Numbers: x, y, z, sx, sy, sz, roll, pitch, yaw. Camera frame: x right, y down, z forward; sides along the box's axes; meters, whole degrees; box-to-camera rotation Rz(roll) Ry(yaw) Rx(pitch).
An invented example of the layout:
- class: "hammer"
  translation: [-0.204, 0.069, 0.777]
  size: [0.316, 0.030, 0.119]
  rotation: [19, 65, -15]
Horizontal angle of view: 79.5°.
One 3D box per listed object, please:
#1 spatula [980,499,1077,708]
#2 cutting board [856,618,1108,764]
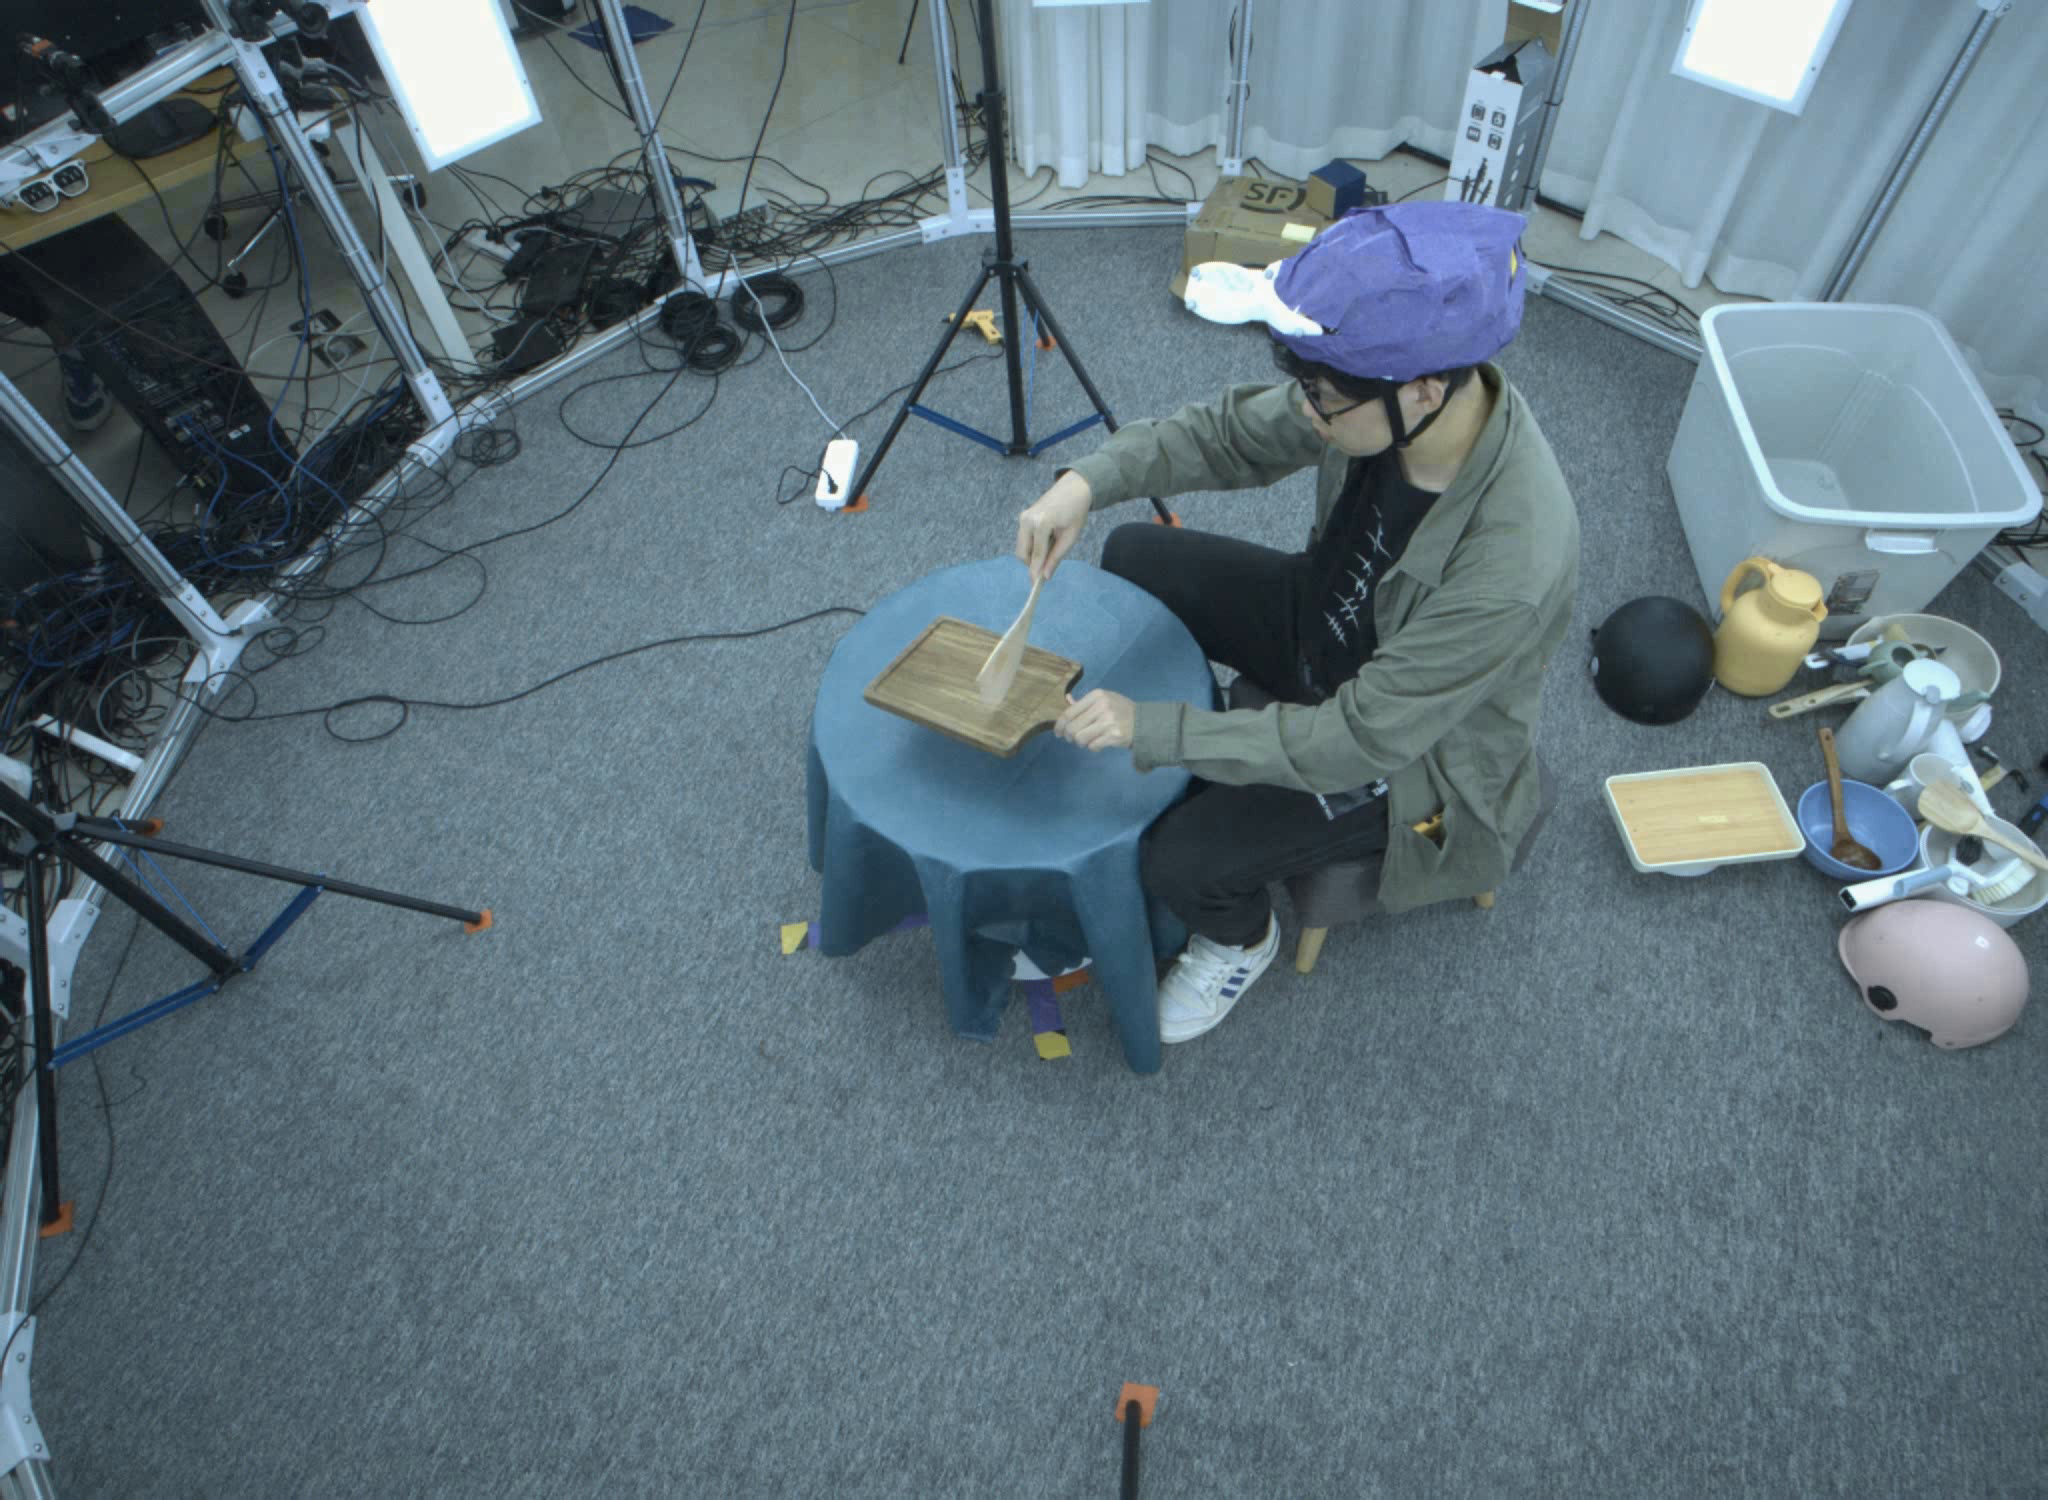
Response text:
- class: "spatula"
  translation: [0.010, -0.213, 1.678]
  size: [0.016, 0.081, 0.327]
  rotation: [13, 68, 24]
- class: "cutting board"
  translation: [-0.039, -0.071, 1.693]
  size: [0.346, 0.023, 0.202]
  rotation: [23, 52, 24]
